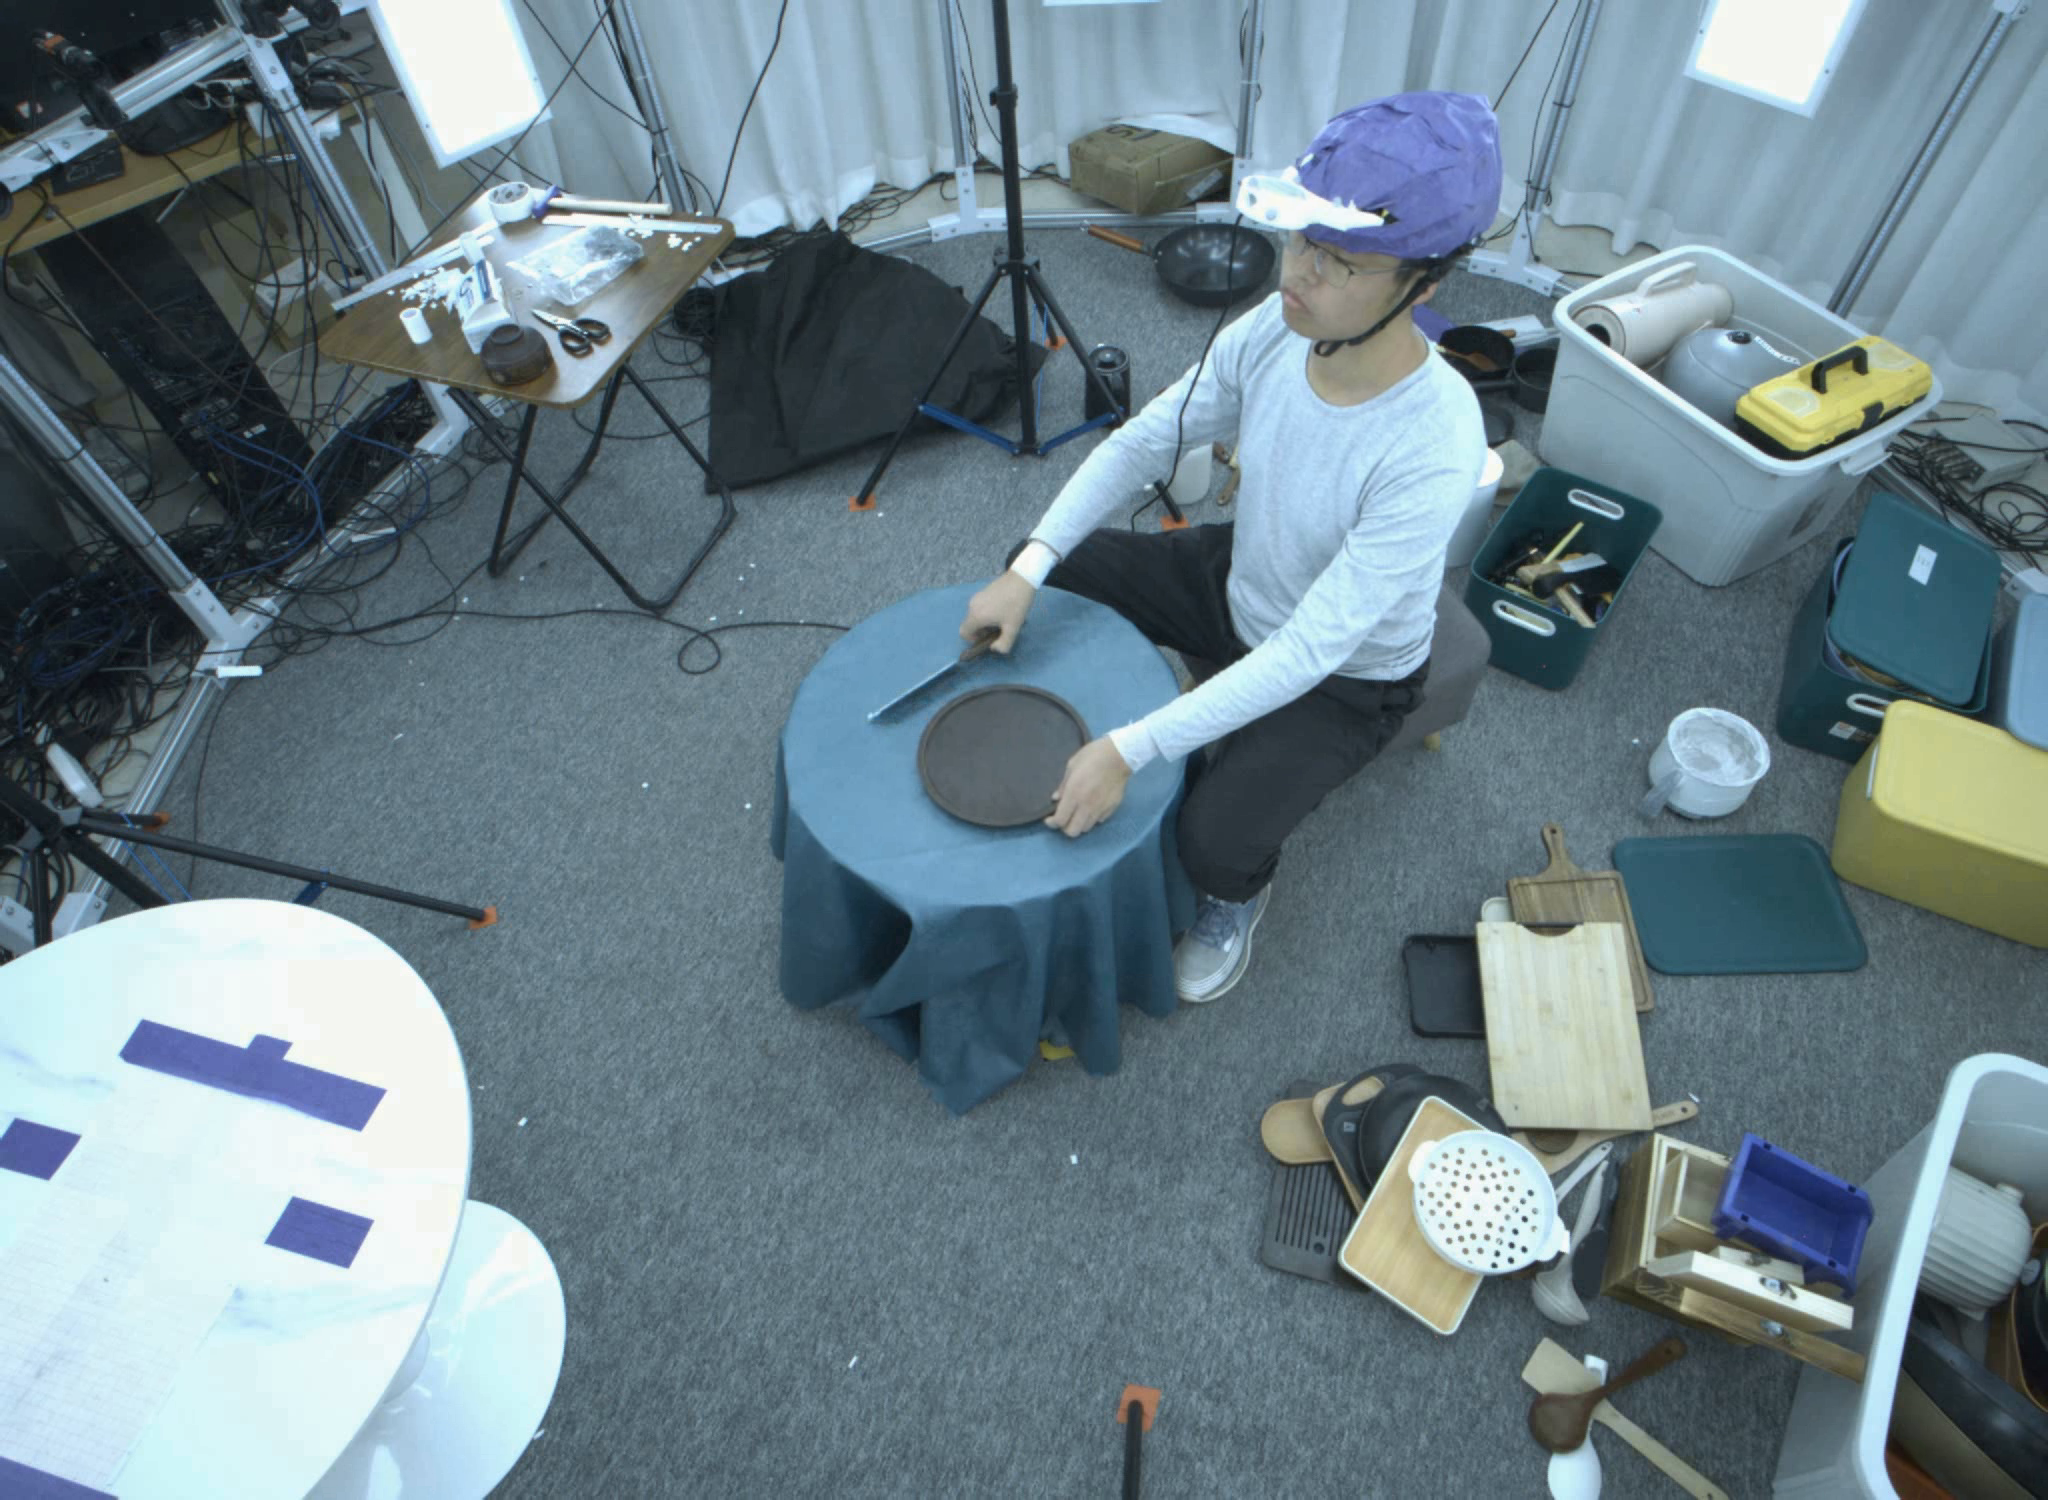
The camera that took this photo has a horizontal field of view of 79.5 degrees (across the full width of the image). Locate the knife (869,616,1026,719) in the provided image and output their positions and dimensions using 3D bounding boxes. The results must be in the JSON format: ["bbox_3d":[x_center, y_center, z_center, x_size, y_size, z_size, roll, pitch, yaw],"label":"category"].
[{"bbox_3d":[-0.116,-0.124,1.865,0.291,0.049,0.020,-34,105,-18],"label":"knife"}]

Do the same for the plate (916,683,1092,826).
[{"bbox_3d":[-0.029,0.005,1.777,0.255,0.029,0.252,0,52,1],"label":"plate"}]
